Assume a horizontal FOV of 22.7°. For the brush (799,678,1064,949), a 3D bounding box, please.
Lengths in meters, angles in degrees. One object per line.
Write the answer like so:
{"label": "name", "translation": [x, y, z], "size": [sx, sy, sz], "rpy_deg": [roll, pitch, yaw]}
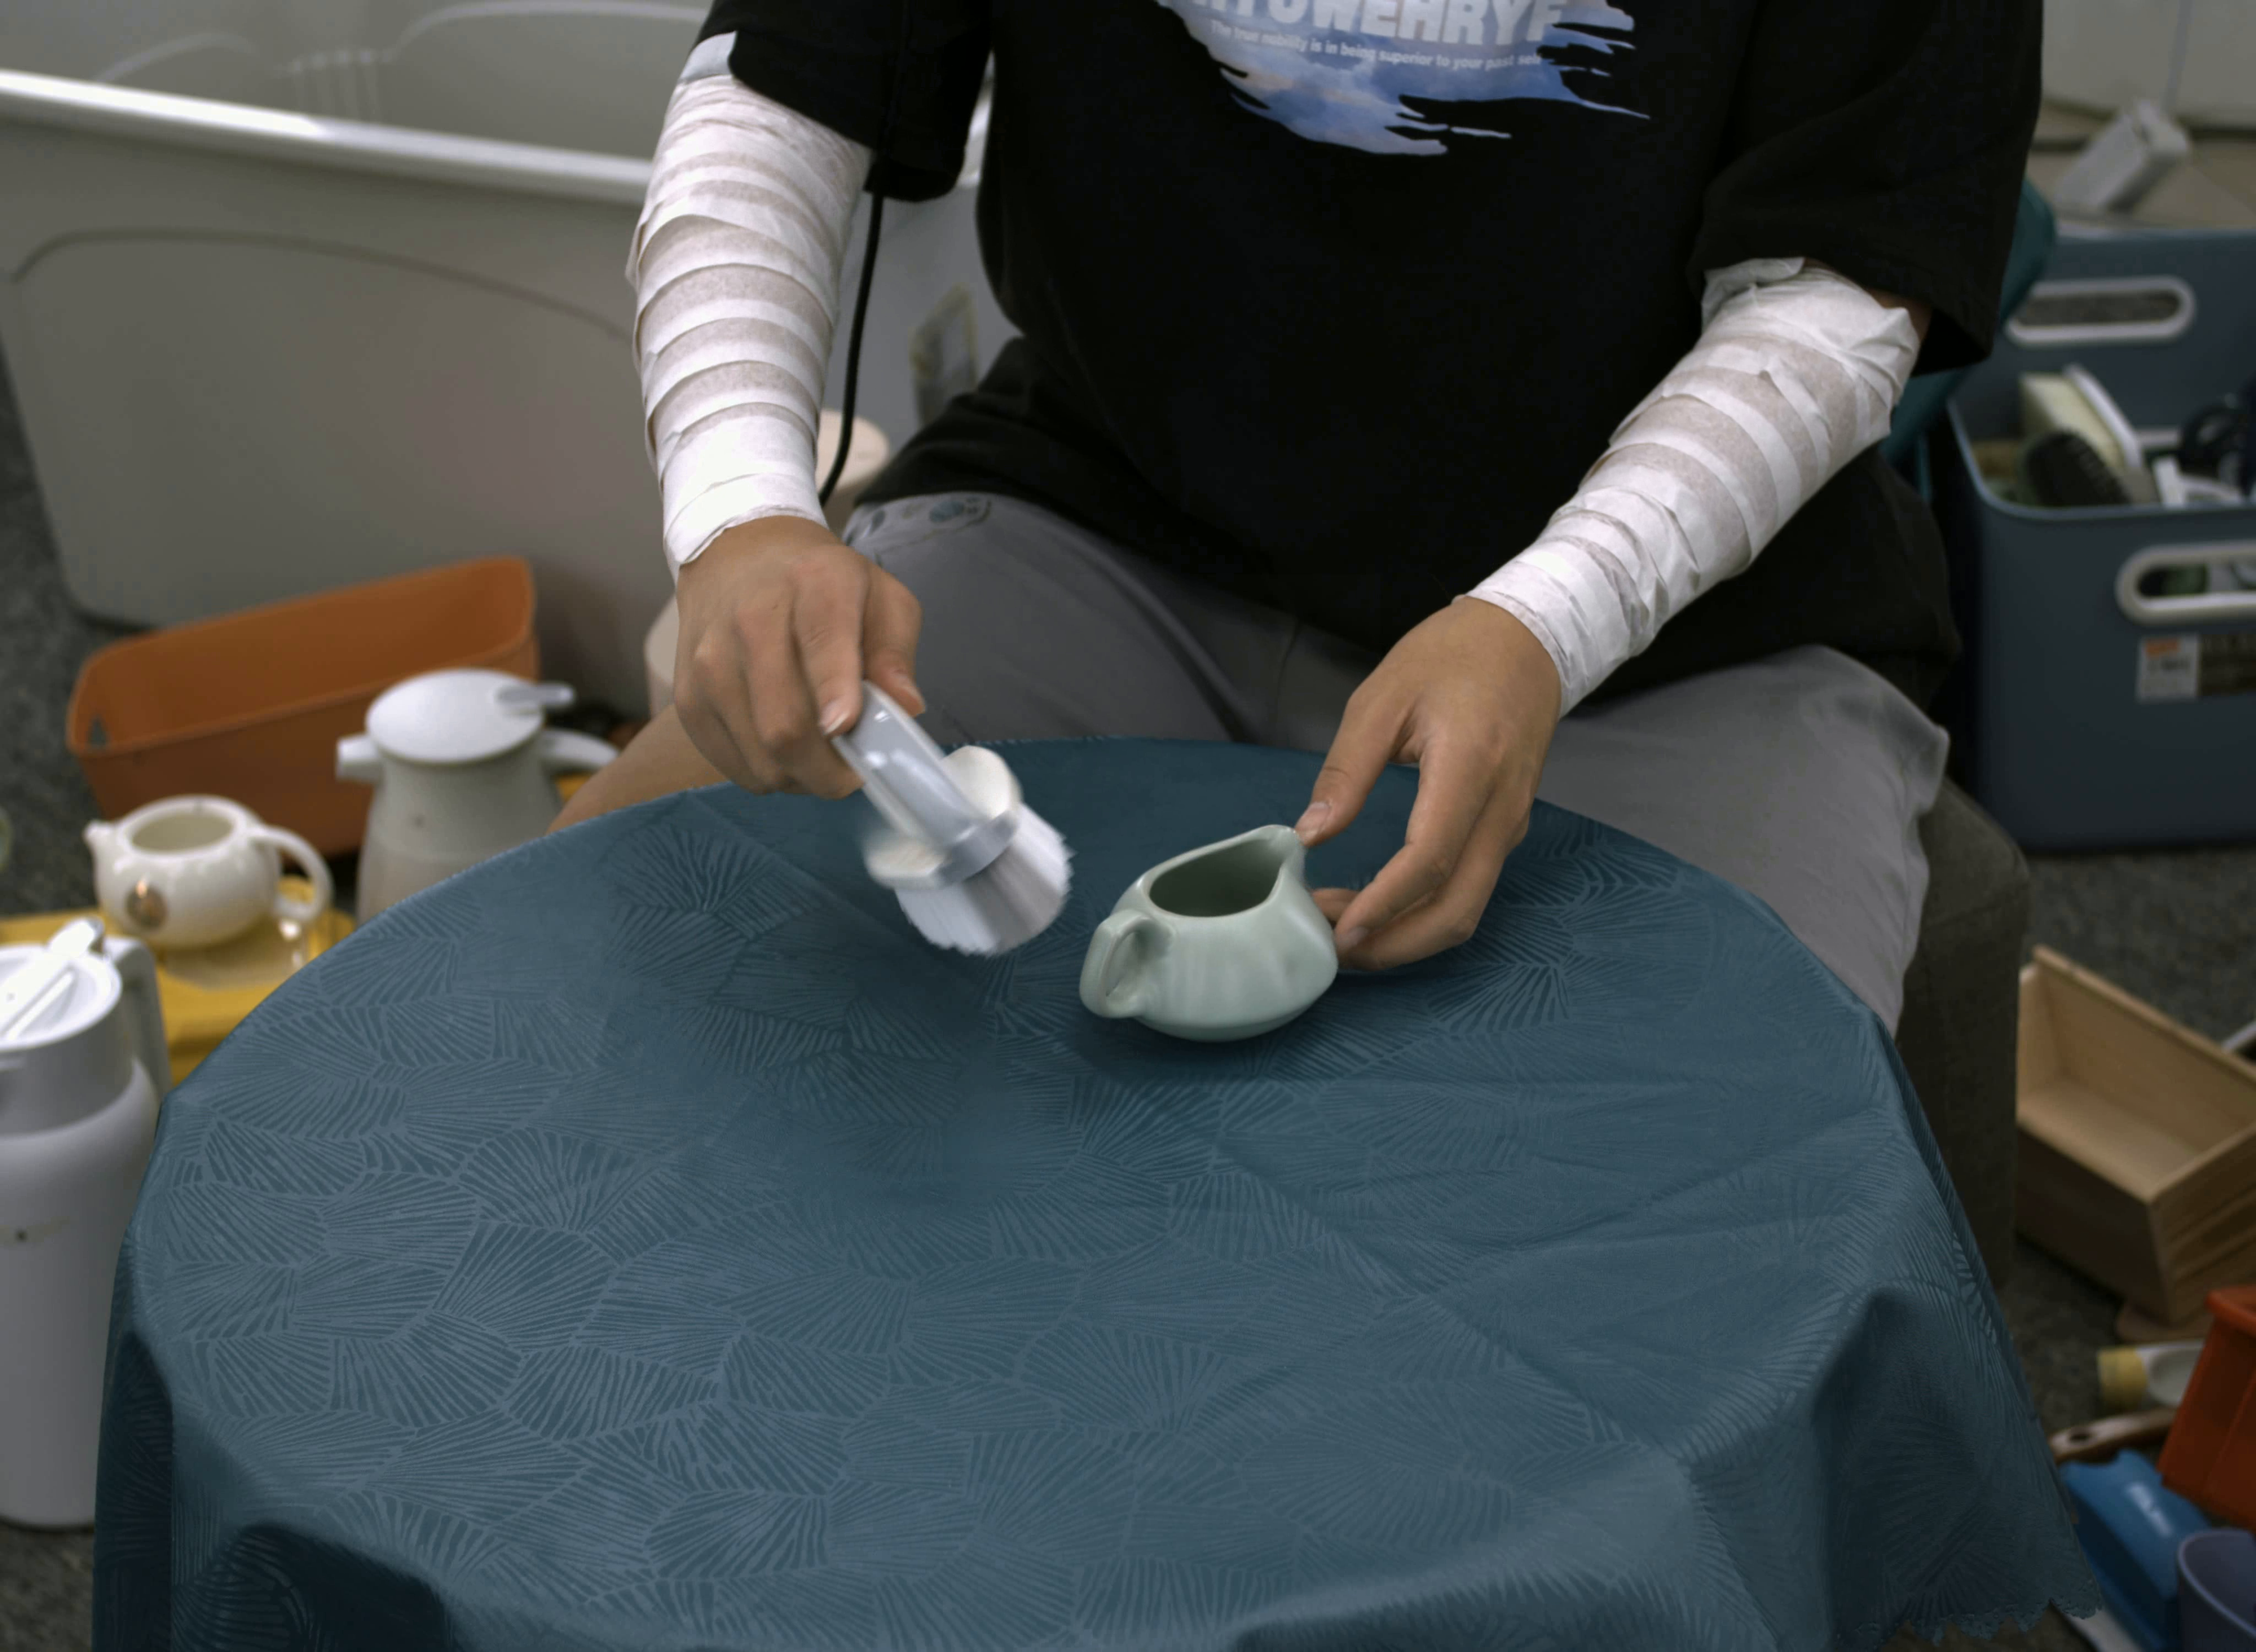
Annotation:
{"label": "brush", "translation": [-0.070, -0.008, 1.933], "size": [0.061, 0.094, 0.176], "rpy_deg": [-43, 14, -1]}

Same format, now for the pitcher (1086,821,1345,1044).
{"label": "pitcher", "translation": [0.025, 0.044, 1.949], "size": [0.085, 0.060, 0.109], "rpy_deg": [17, 35, 36]}
